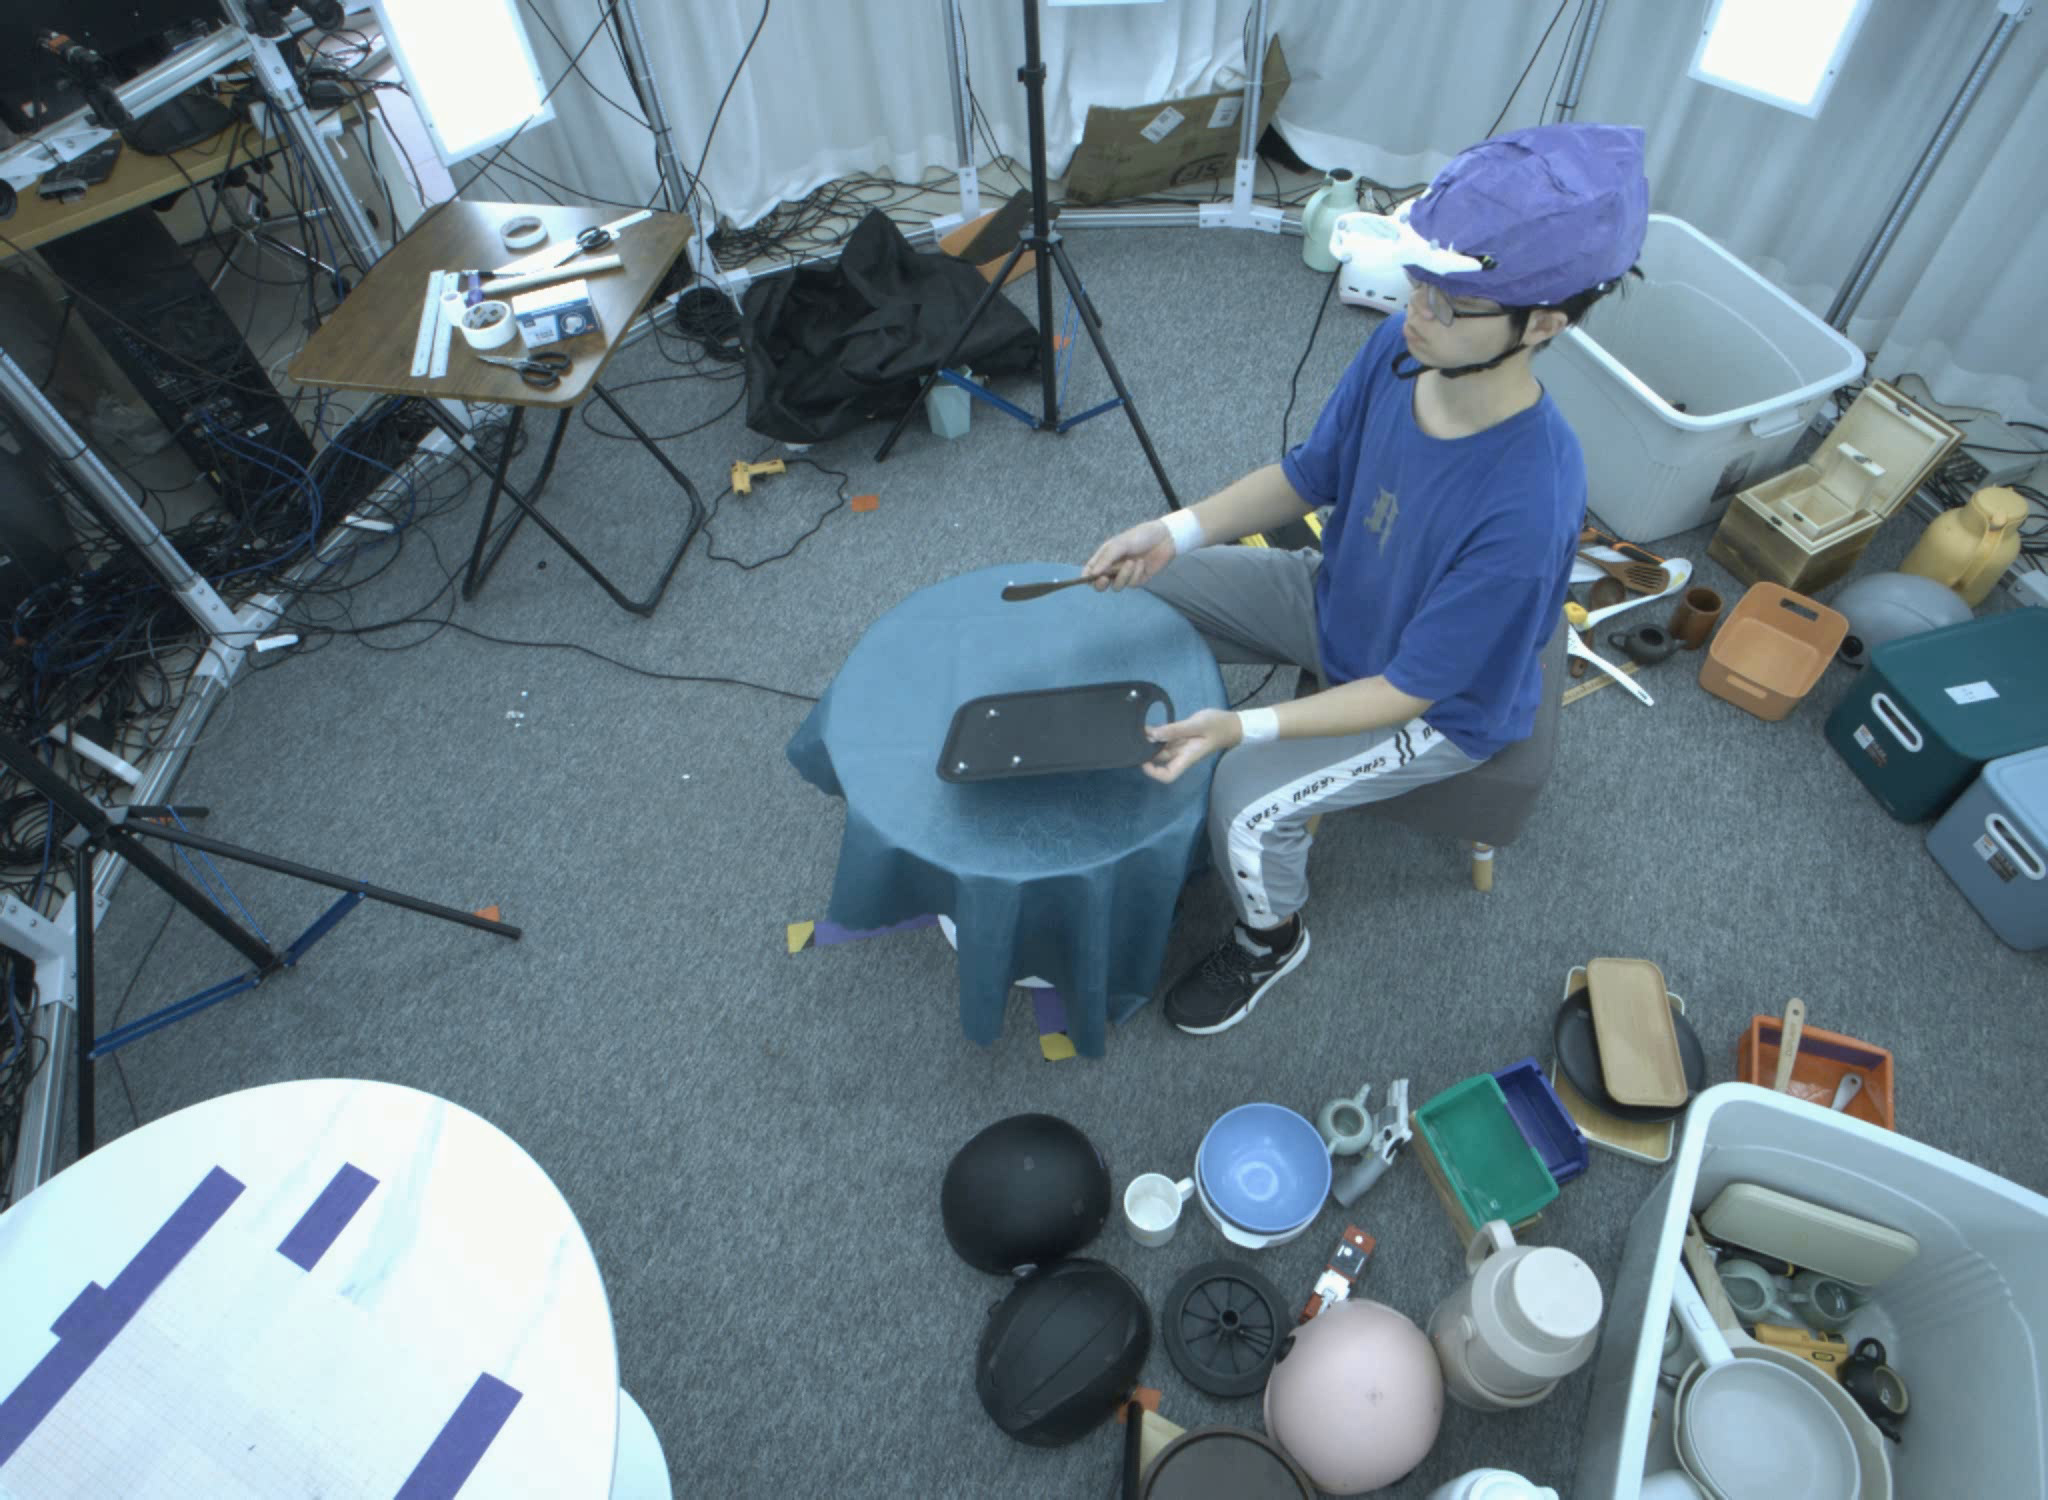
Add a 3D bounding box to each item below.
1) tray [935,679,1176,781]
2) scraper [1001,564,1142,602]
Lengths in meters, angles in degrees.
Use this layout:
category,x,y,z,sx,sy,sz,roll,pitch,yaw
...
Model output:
category,x,y,z,sx,sy,sz,roll,pitch,yaw
tray,0.046,-0.032,1.682,0.323,0.010,0.210,-4,35,13
scraper,0.070,-0.245,1.787,0.212,0.075,0.011,-13,82,-9
